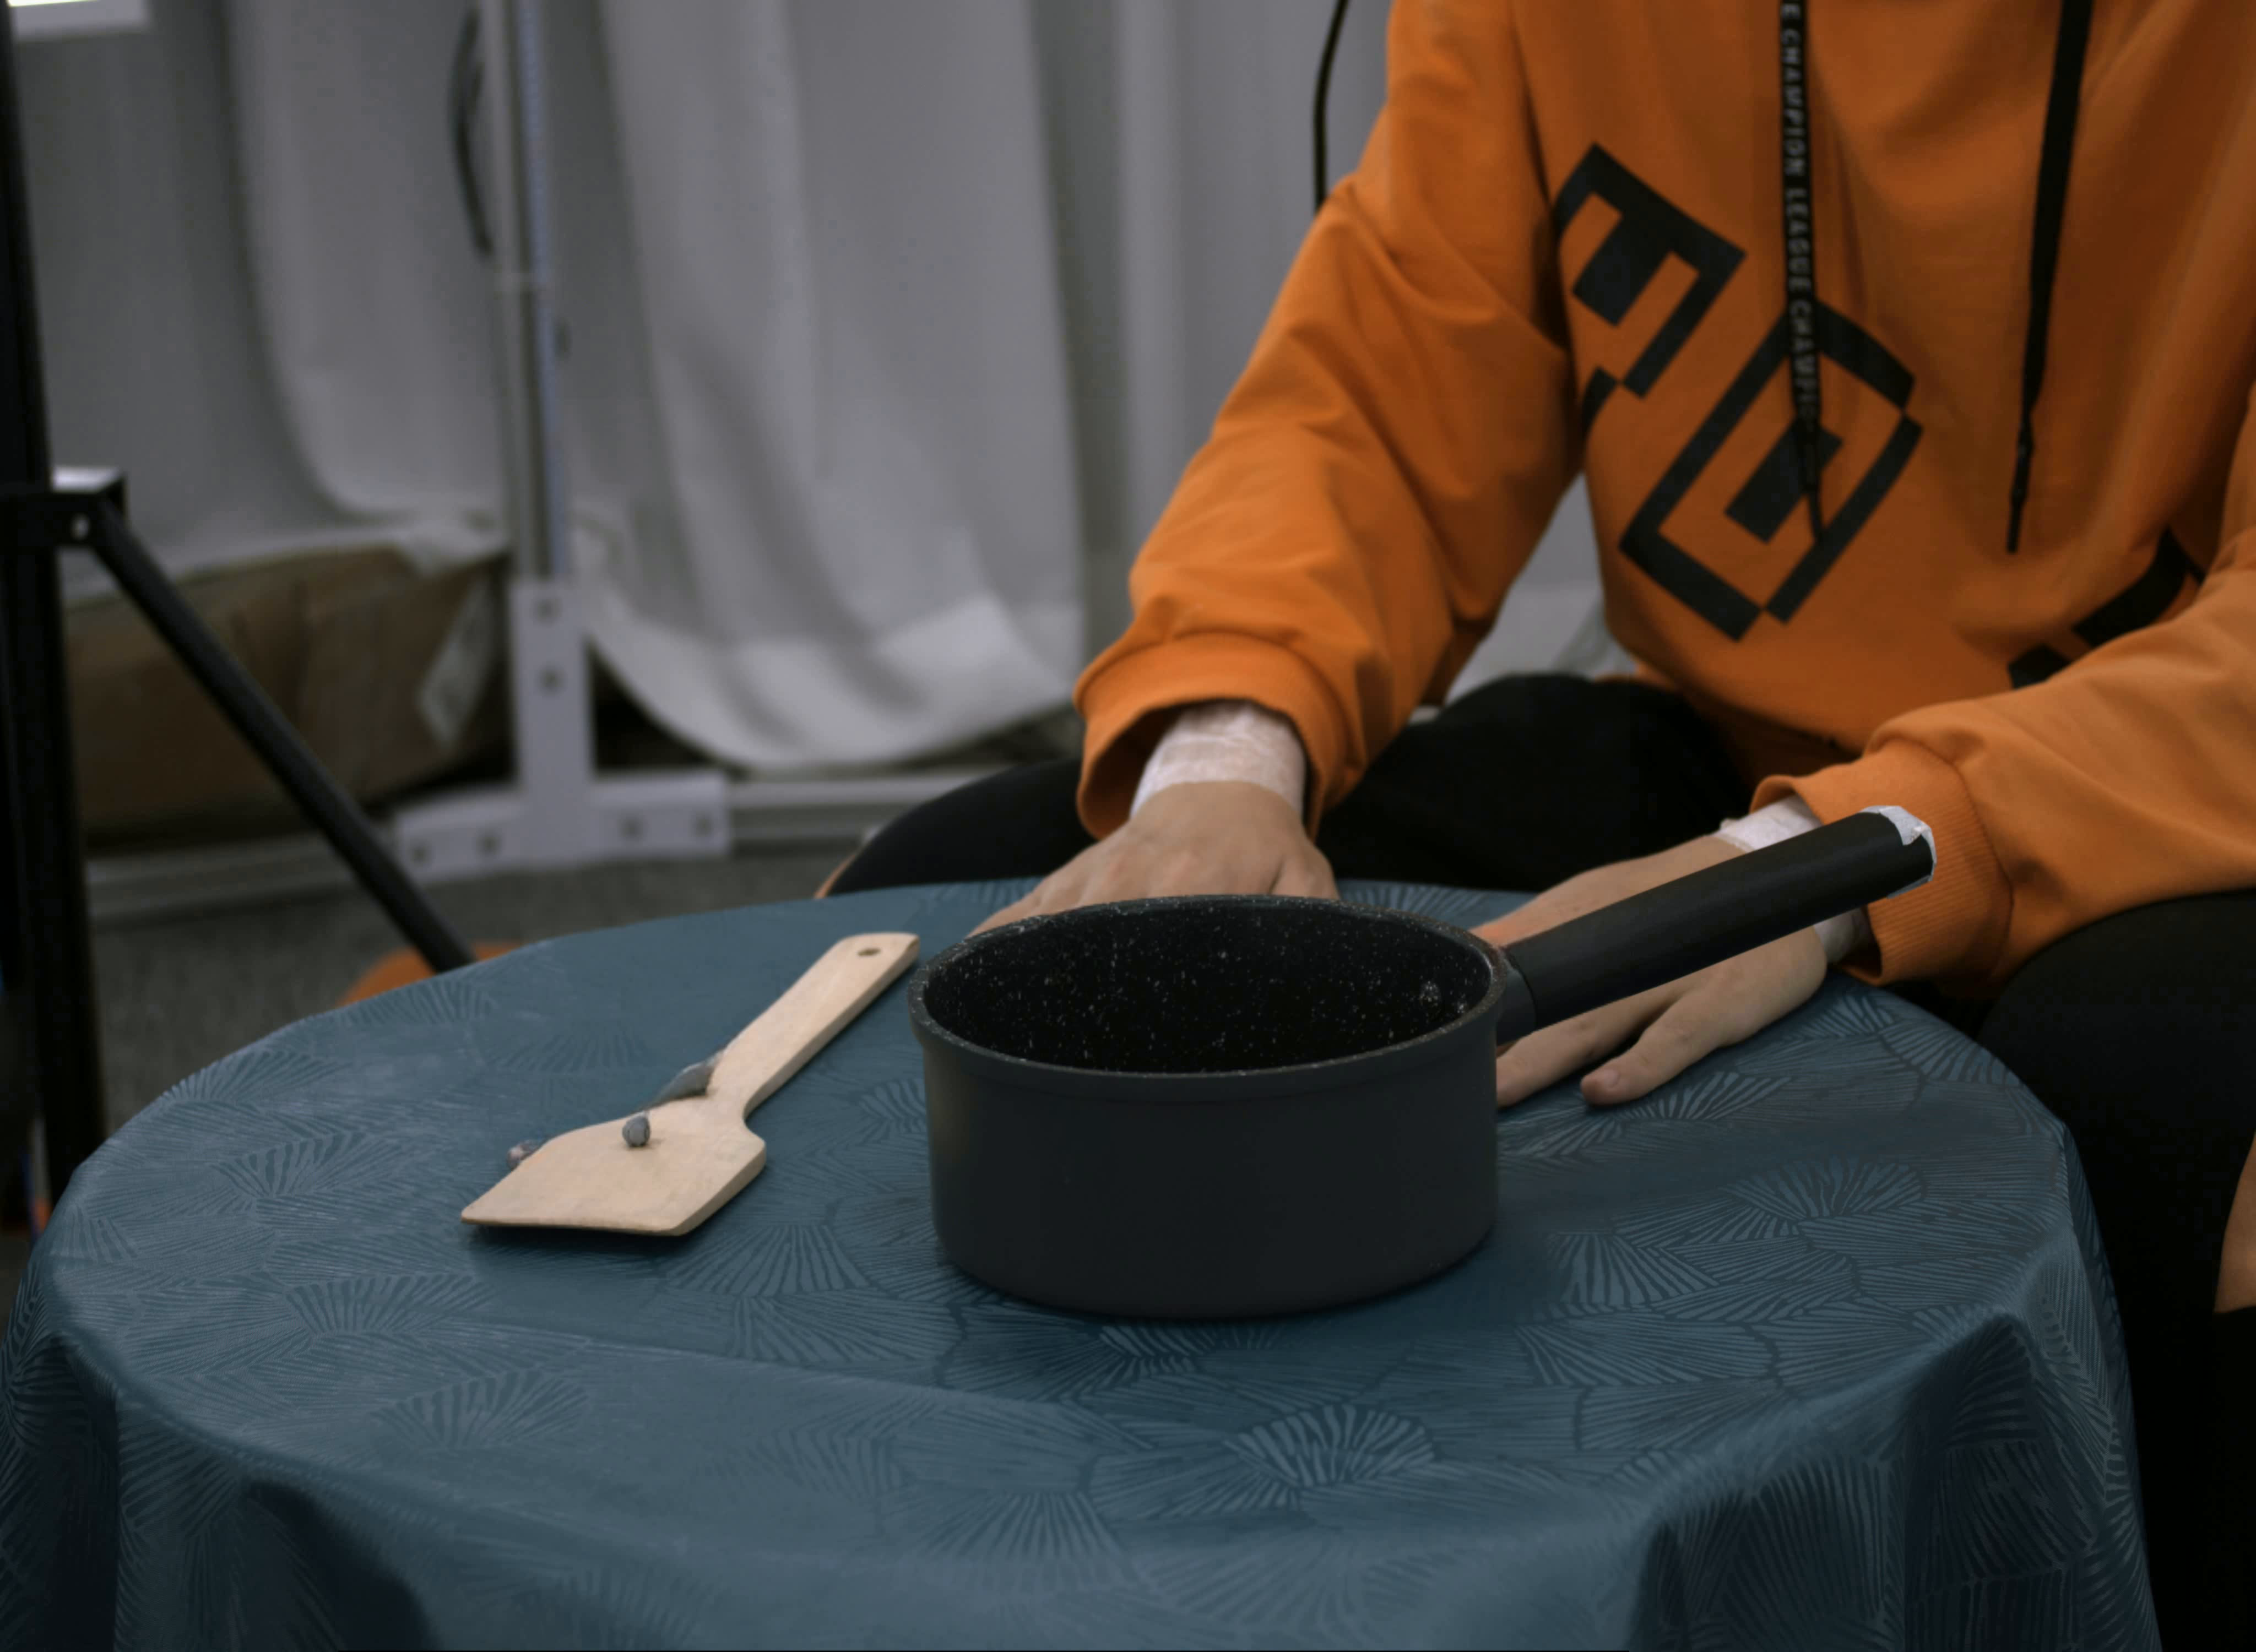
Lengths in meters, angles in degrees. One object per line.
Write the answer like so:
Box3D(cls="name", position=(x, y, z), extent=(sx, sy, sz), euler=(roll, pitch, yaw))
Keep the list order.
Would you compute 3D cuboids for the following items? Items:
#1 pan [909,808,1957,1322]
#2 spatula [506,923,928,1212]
Box3D(cls="pan", position=(0.096, 0.065, 1.541), extent=(0.322, 0.086, 0.175), euler=(-11, 18, -21))
Box3D(cls="spatula", position=(-0.114, 0.071, 1.658), extent=(0.073, 0.010, 0.290), euler=(10, 16, 12))
